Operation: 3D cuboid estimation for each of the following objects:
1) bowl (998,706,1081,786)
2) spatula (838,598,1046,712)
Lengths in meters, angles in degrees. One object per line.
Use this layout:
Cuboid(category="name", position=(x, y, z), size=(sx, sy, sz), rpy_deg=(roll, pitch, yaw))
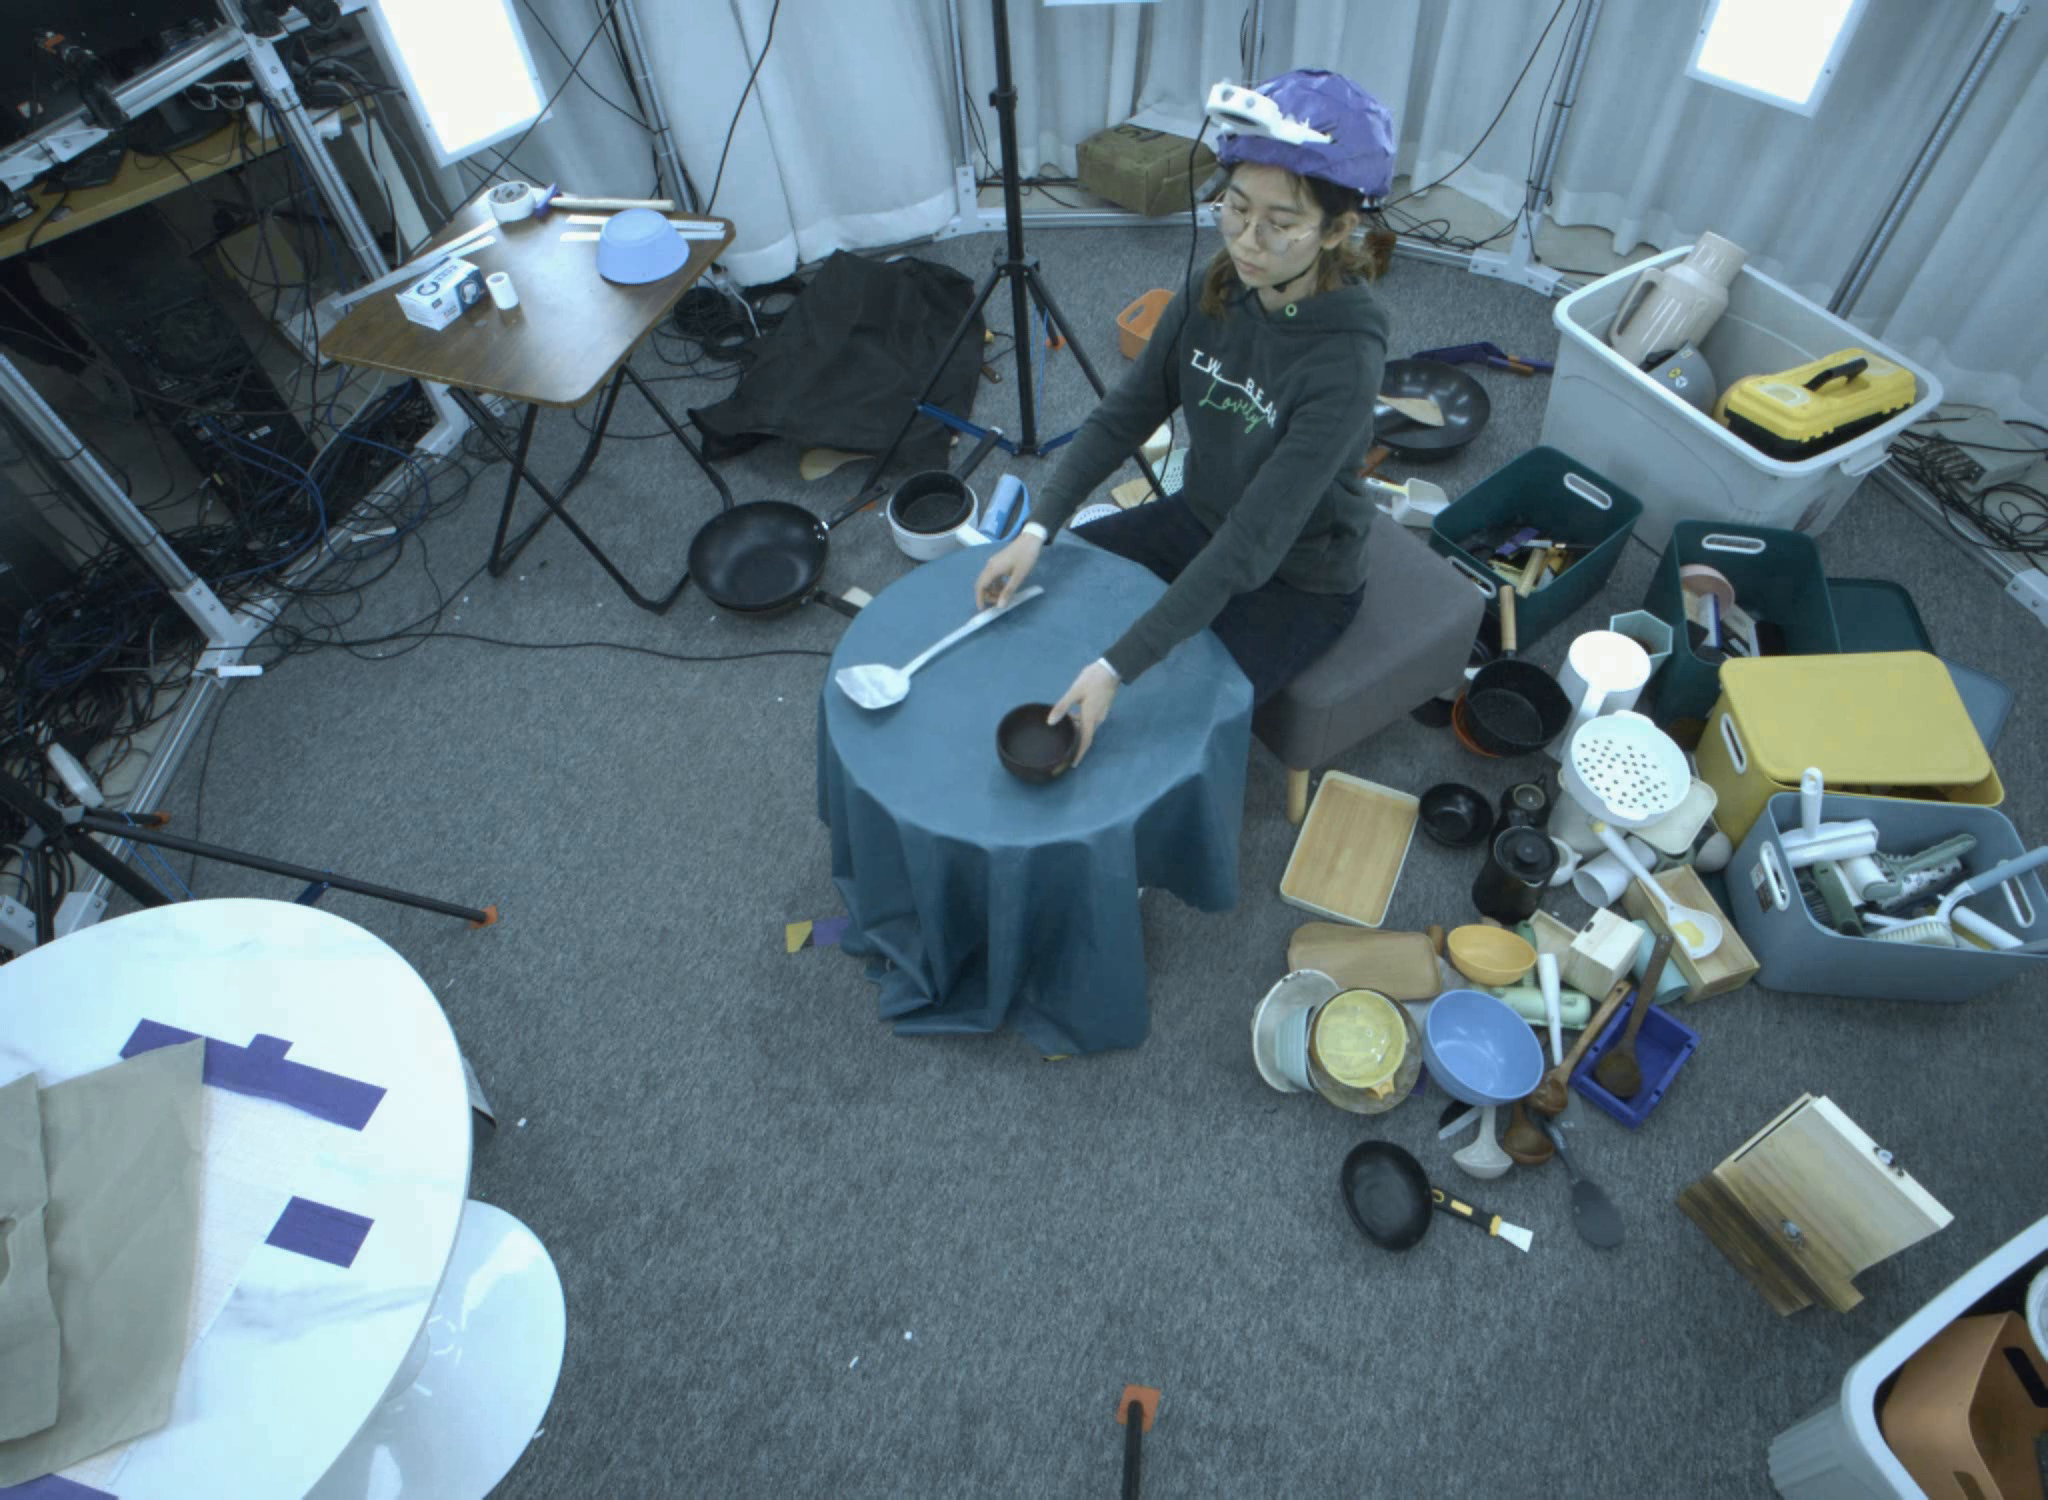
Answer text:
Cuboid(category="bowl", position=(0.023, 0.002, 1.752), size=(0.118, 0.070, 0.117), rpy_deg=(1, 54, 0))
Cuboid(category="spatula", position=(-0.117, -0.161, 1.891), size=(0.368, 0.045, 0.097), rpy_deg=(-34, 58, -20))
